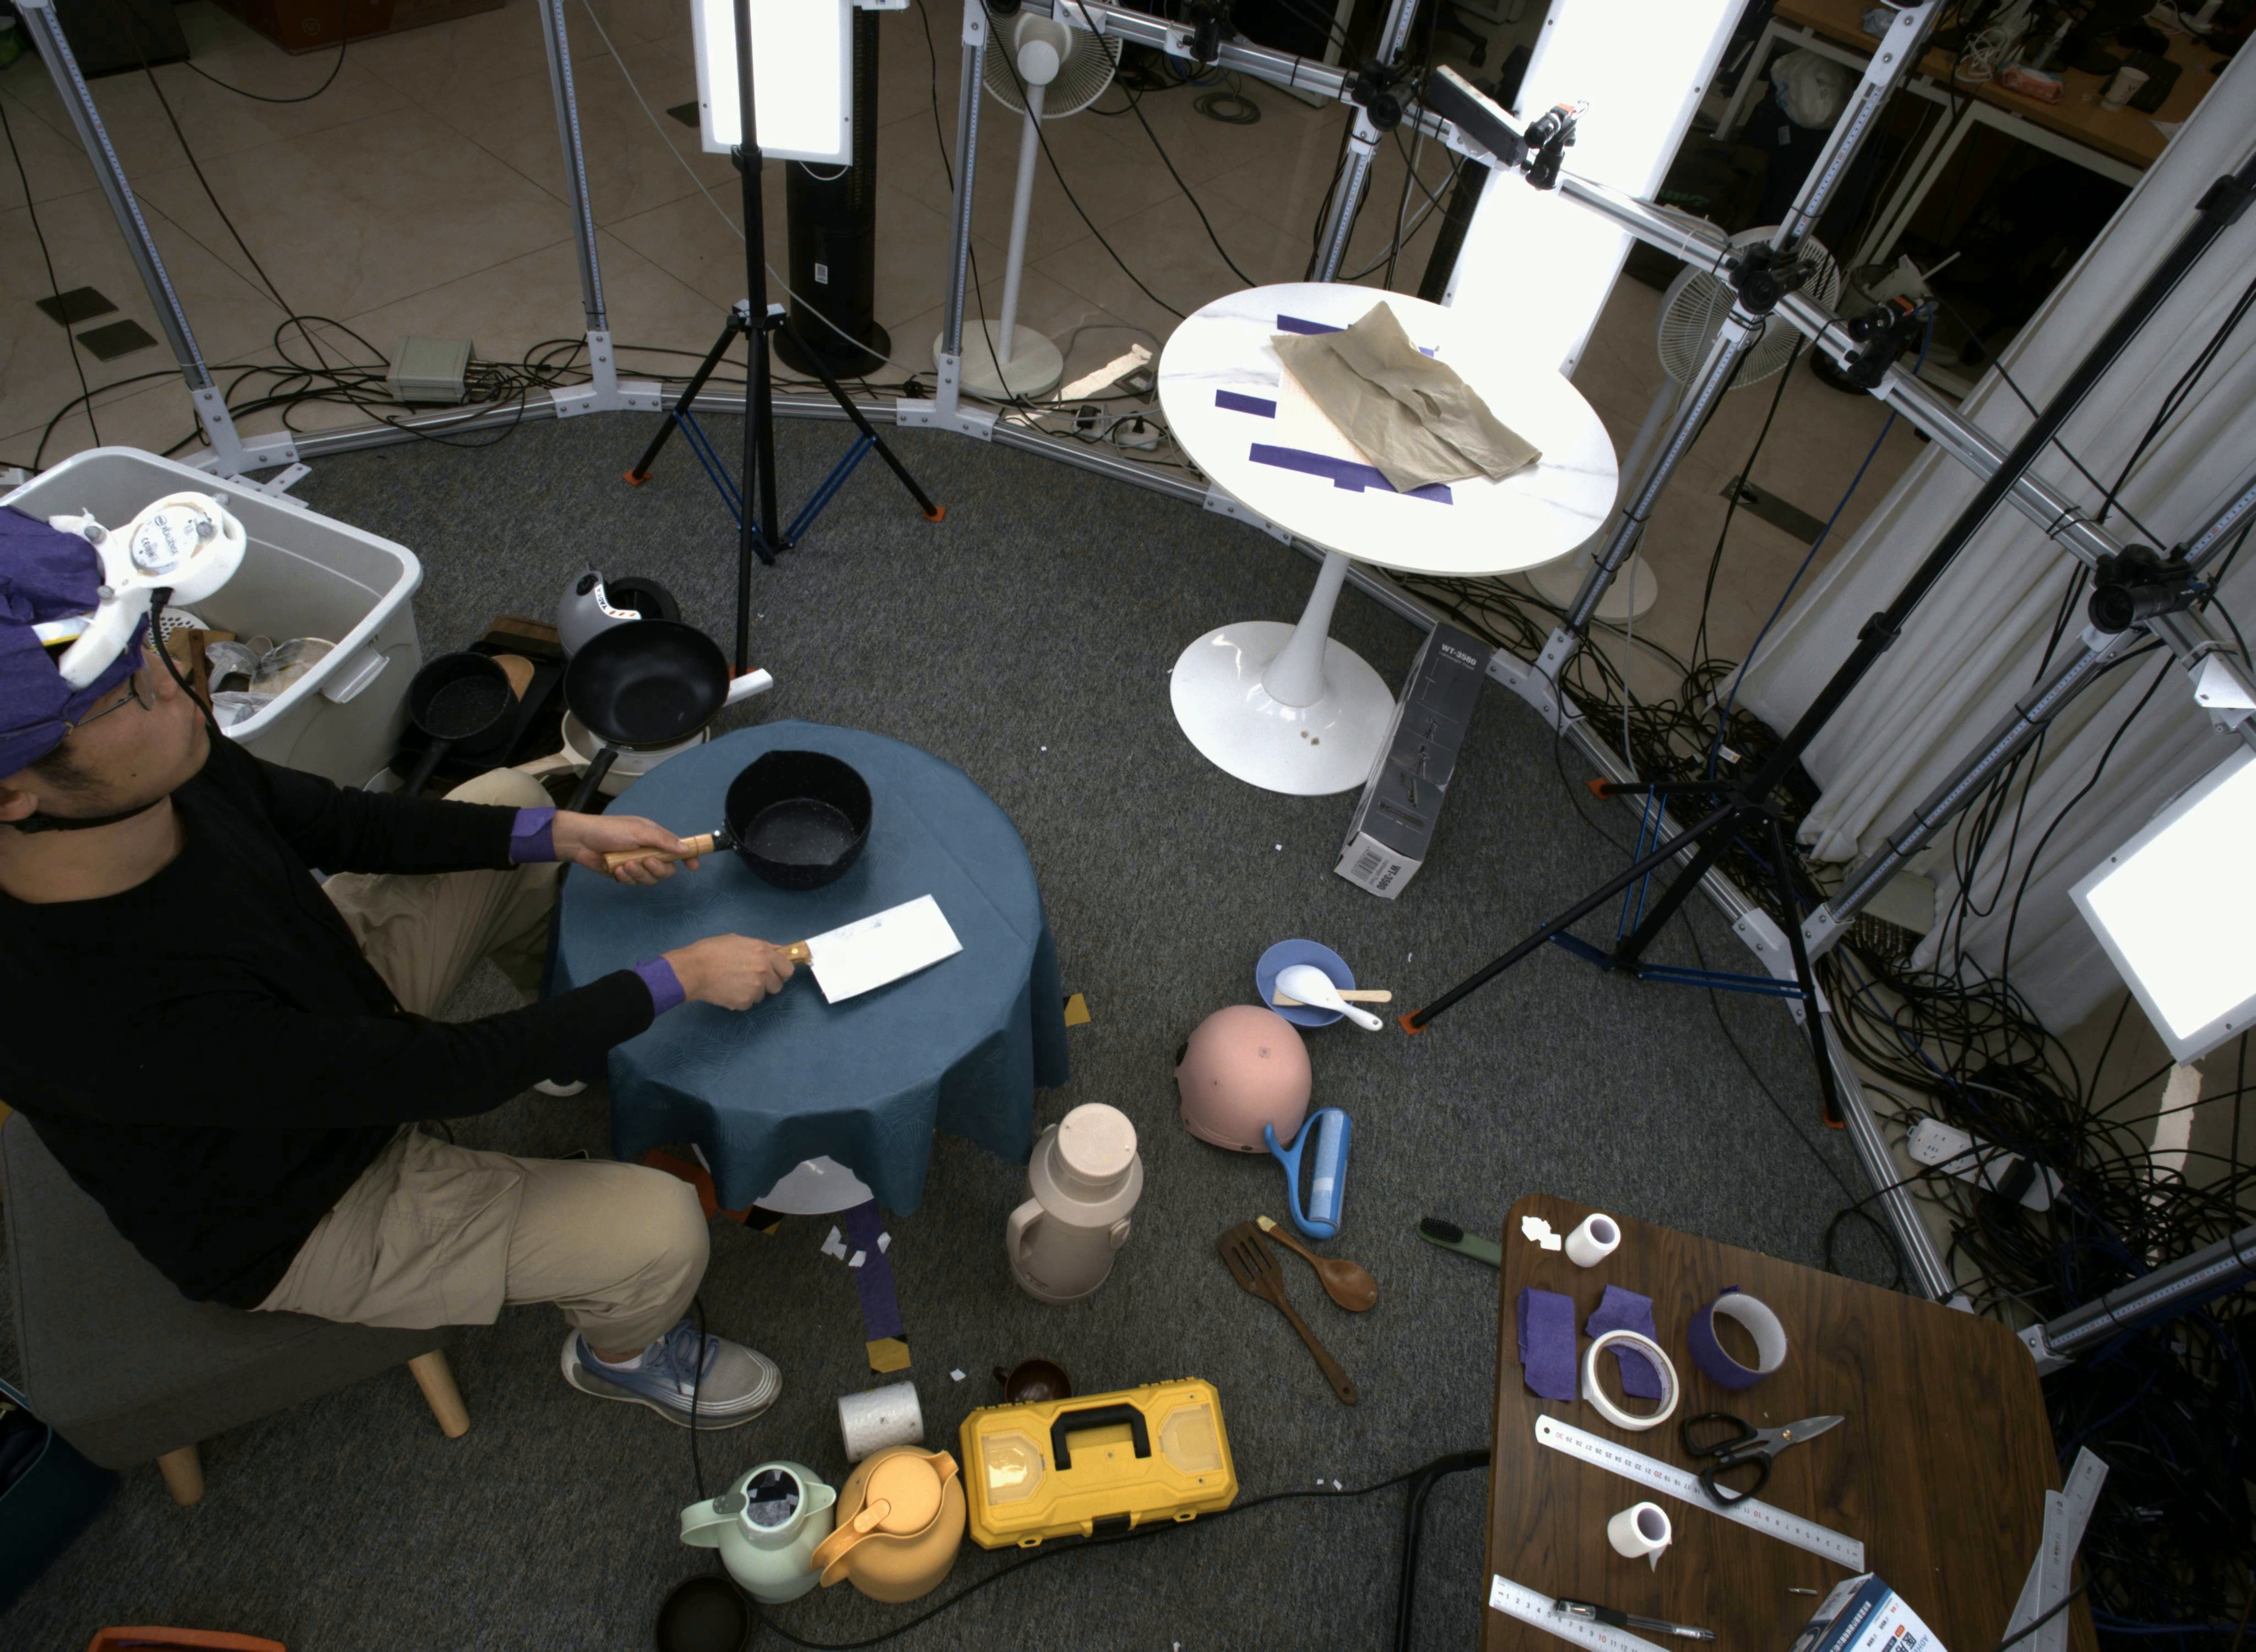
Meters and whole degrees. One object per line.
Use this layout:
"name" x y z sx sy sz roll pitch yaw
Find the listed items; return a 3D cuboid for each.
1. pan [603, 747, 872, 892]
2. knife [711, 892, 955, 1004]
"pan" -0.487 0.018 1.623 0.344 0.110 0.202 -22 62 -29
"knife" -0.350 0.163 1.584 0.308 0.021 0.091 -21 70 -34
